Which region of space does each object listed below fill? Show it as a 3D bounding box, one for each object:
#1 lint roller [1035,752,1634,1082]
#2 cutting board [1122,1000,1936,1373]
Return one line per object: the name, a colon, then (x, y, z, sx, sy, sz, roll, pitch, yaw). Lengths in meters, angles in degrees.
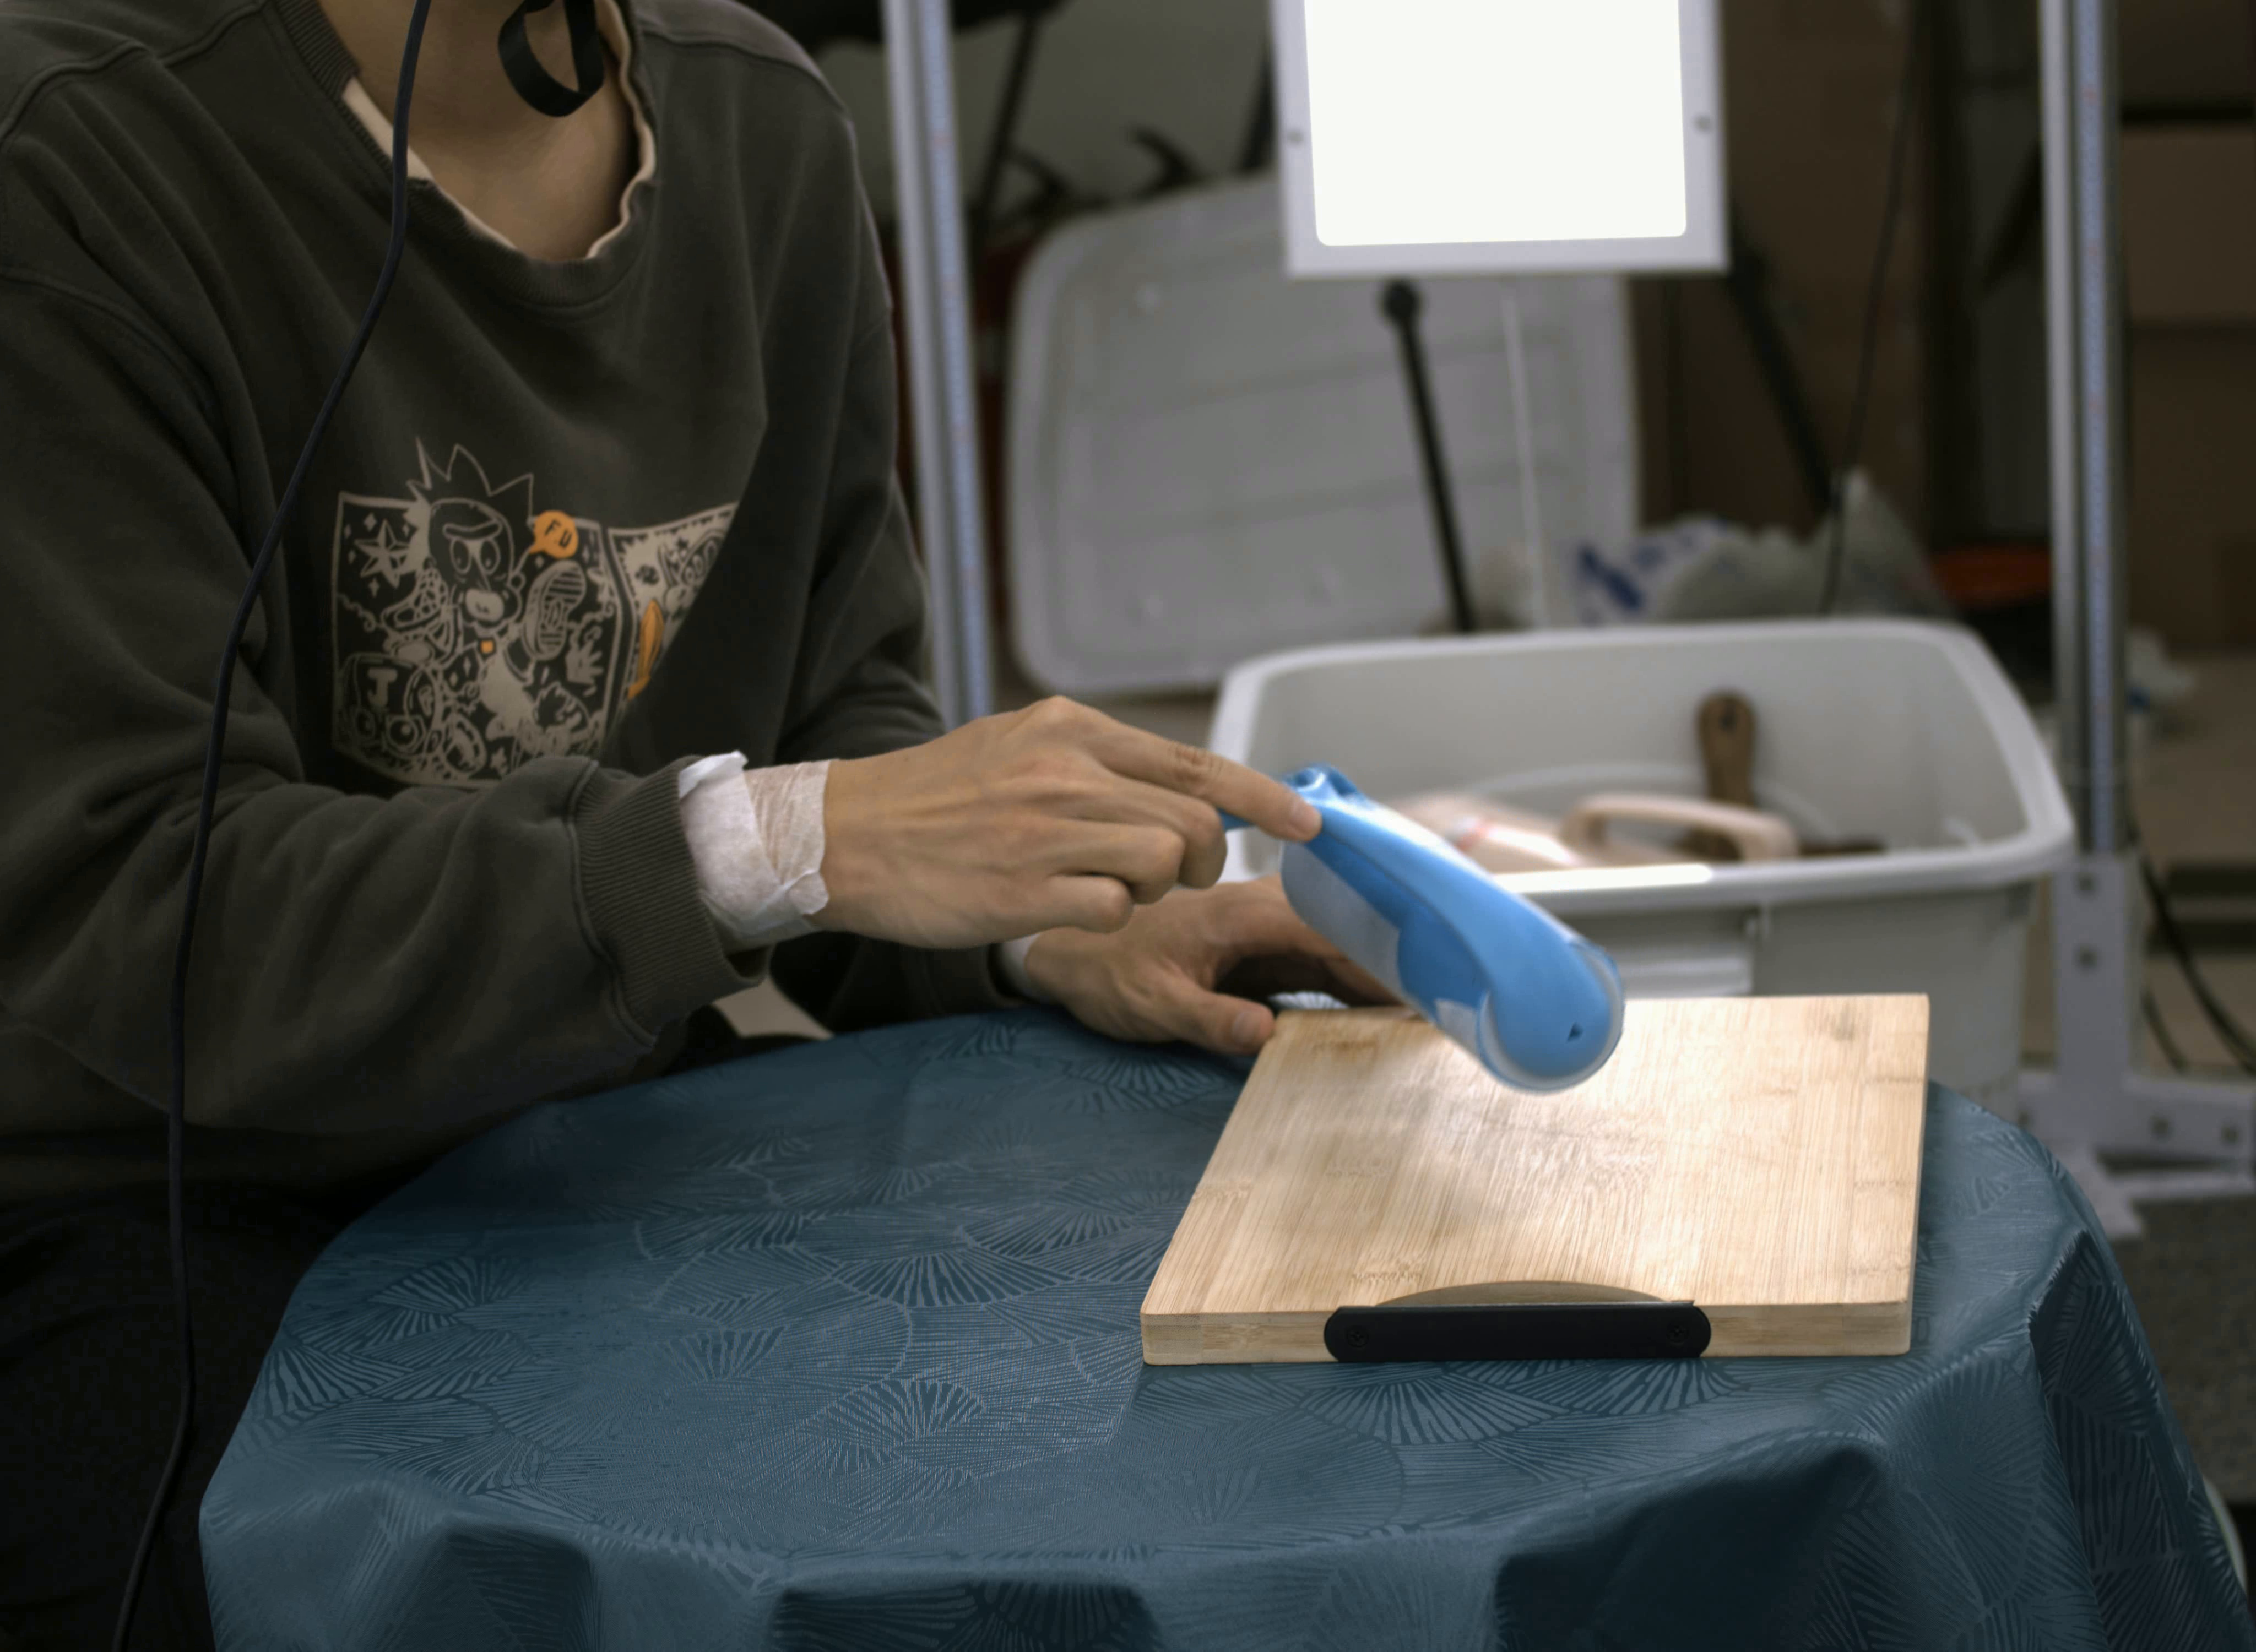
lint roller: (0.060, 0.017, 1.860, 0.177, 0.068, 0.231, 17, 9, -23)
cutting board: (0.146, 0.117, 1.849, 0.252, 0.023, 0.345, -3, 14, 10)
